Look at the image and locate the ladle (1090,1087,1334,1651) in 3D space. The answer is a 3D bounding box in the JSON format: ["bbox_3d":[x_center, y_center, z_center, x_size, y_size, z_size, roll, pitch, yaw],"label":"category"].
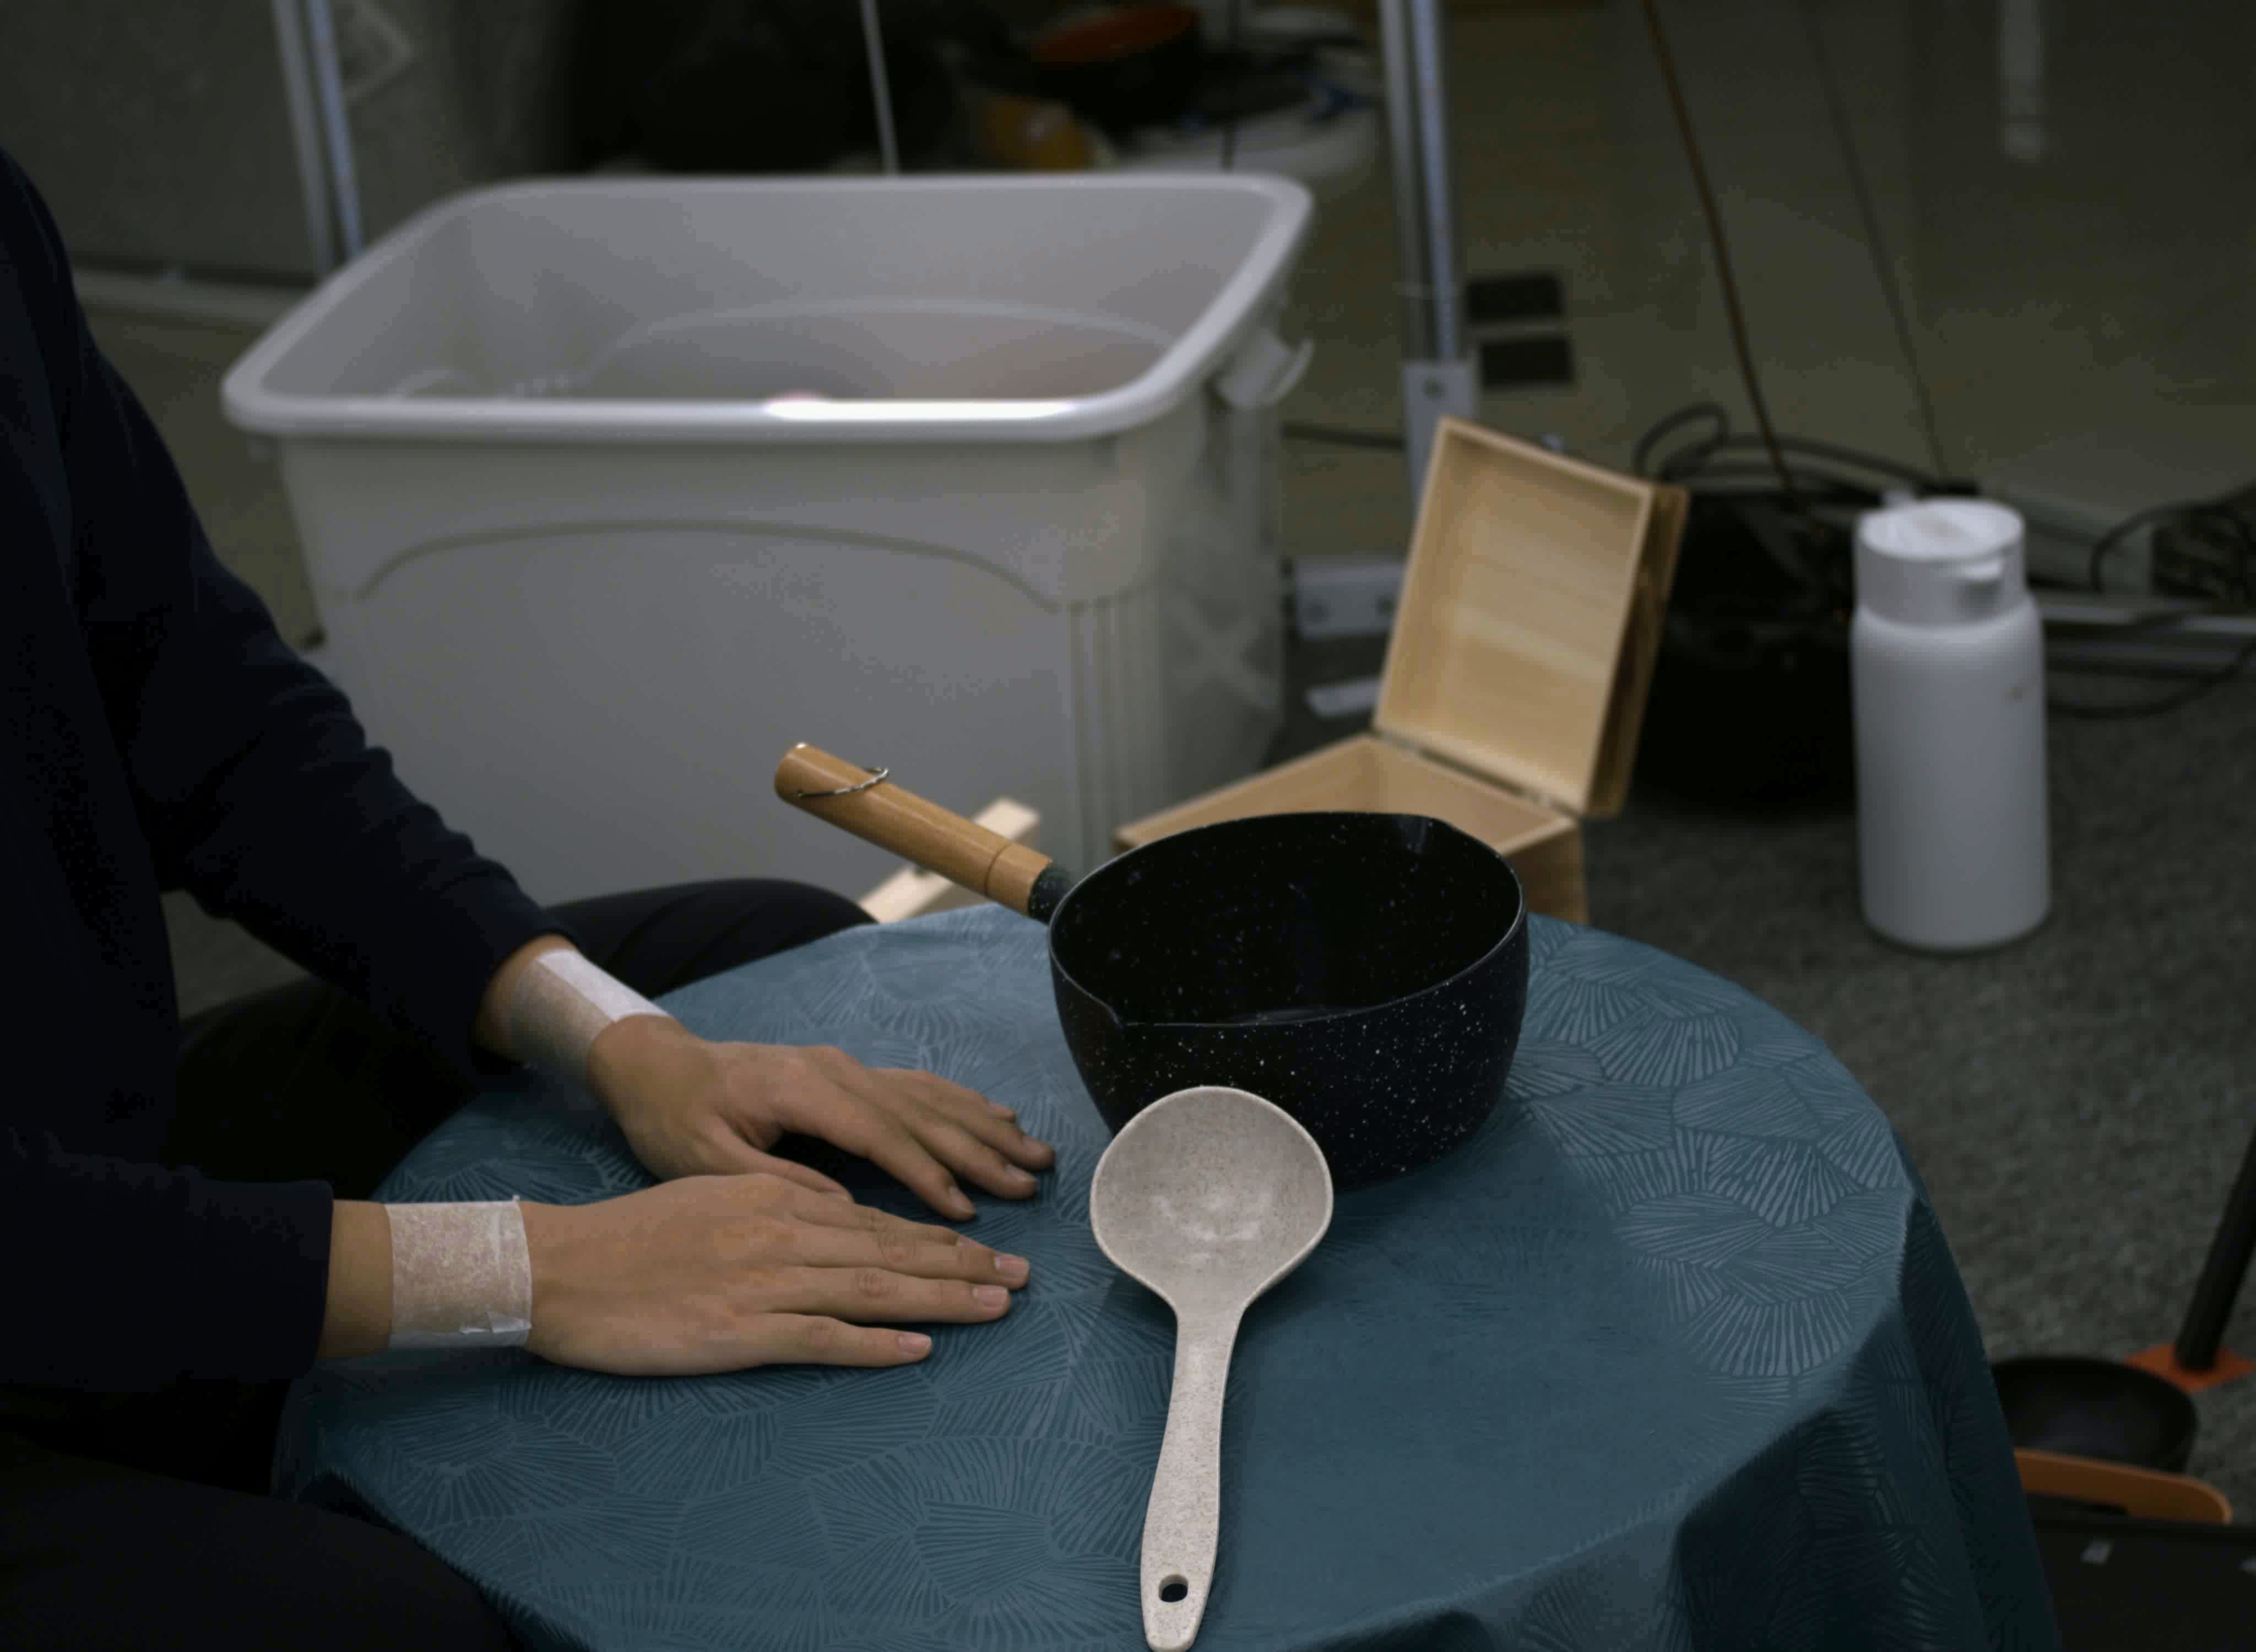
[{"bbox_3d":[0.023,0.182,1.966,0.089,0.070,0.271,0,25,4],"label":"ladle"}]

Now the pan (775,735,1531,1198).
[{"bbox_3d":[-0.001,0.047,2.215,0.341,0.110,0.205,14,33,34],"label":"pan"}]
